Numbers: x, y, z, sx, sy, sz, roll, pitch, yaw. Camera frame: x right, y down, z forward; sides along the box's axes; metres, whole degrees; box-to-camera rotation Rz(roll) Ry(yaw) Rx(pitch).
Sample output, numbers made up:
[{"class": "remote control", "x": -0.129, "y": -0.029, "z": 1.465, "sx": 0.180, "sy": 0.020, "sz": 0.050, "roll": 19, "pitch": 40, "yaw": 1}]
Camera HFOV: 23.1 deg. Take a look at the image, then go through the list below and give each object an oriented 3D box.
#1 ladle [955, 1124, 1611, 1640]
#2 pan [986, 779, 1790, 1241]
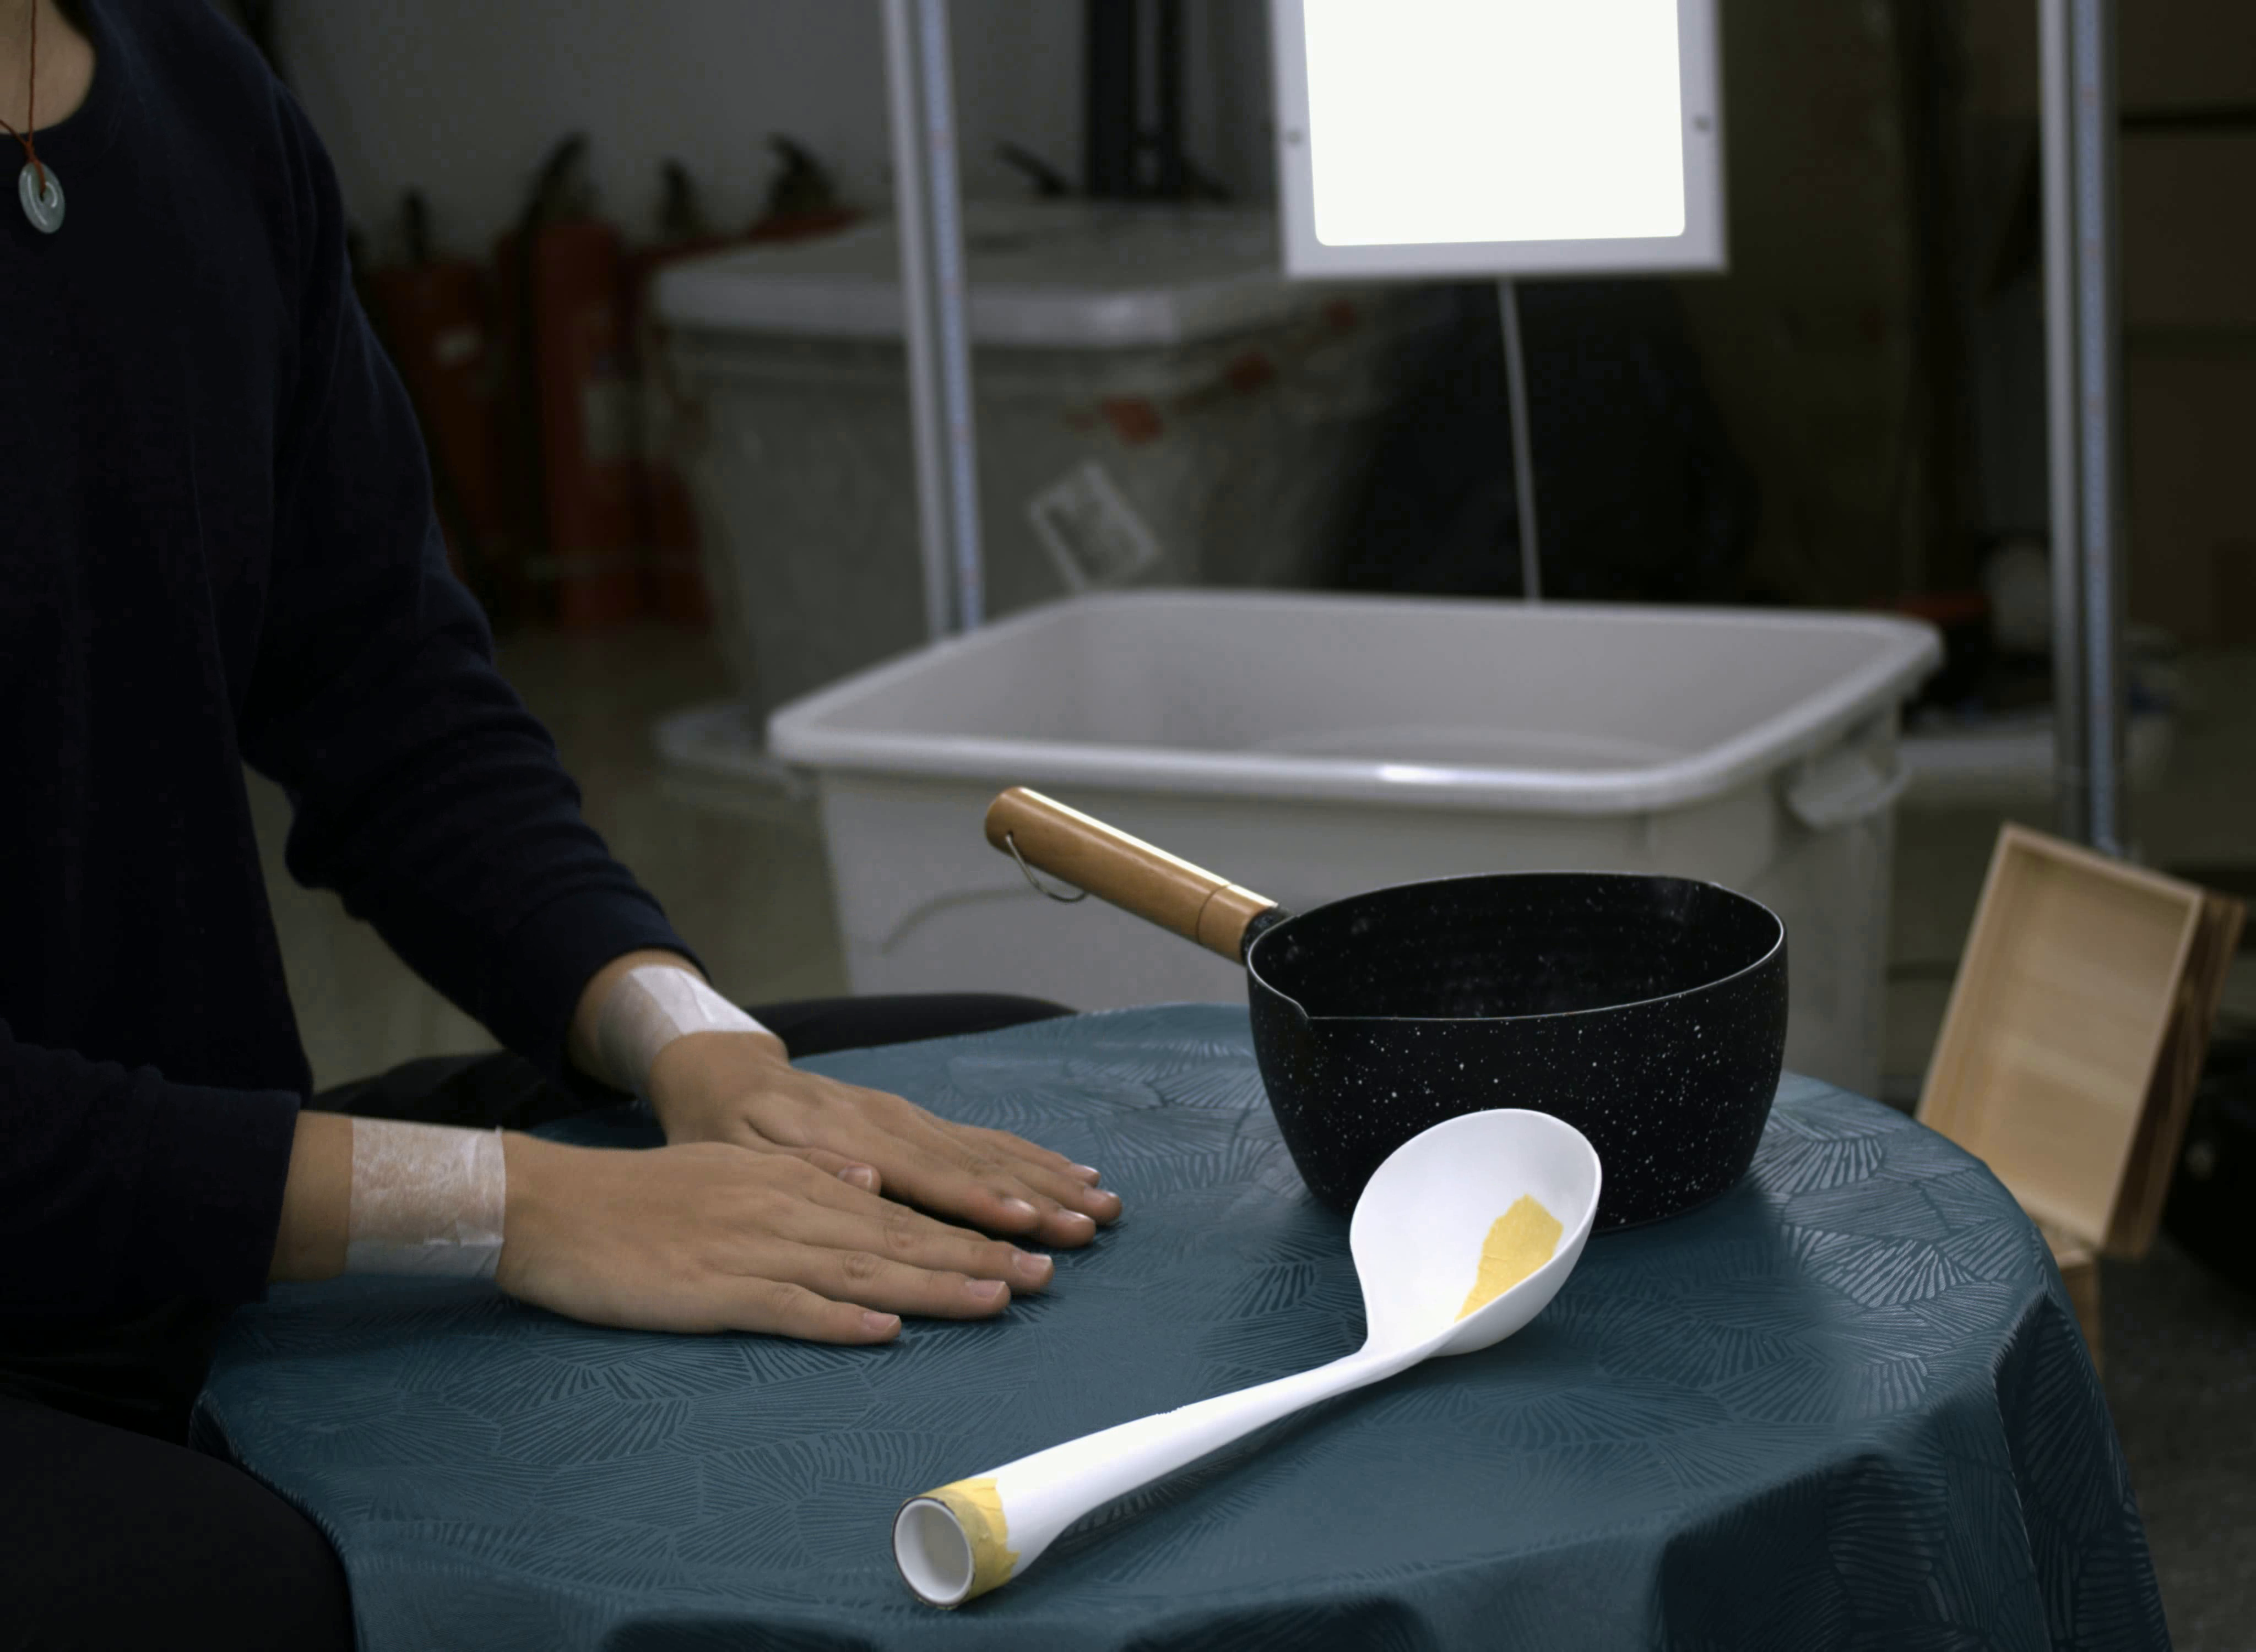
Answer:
[{"class": "ladle", "x": 0.046, "y": 0.158, "z": 1.620, "sx": 0.092, "sy": 0.070, "sz": 0.285, "roll": -12, "pitch": 5, "yaw": 41}, {"class": "pan", "x": 0.076, "y": 0.058, "z": 1.920, "sx": 0.350, "sy": 0.108, "sz": 0.202, "roll": 11, "pitch": 22, "yaw": 44}]
